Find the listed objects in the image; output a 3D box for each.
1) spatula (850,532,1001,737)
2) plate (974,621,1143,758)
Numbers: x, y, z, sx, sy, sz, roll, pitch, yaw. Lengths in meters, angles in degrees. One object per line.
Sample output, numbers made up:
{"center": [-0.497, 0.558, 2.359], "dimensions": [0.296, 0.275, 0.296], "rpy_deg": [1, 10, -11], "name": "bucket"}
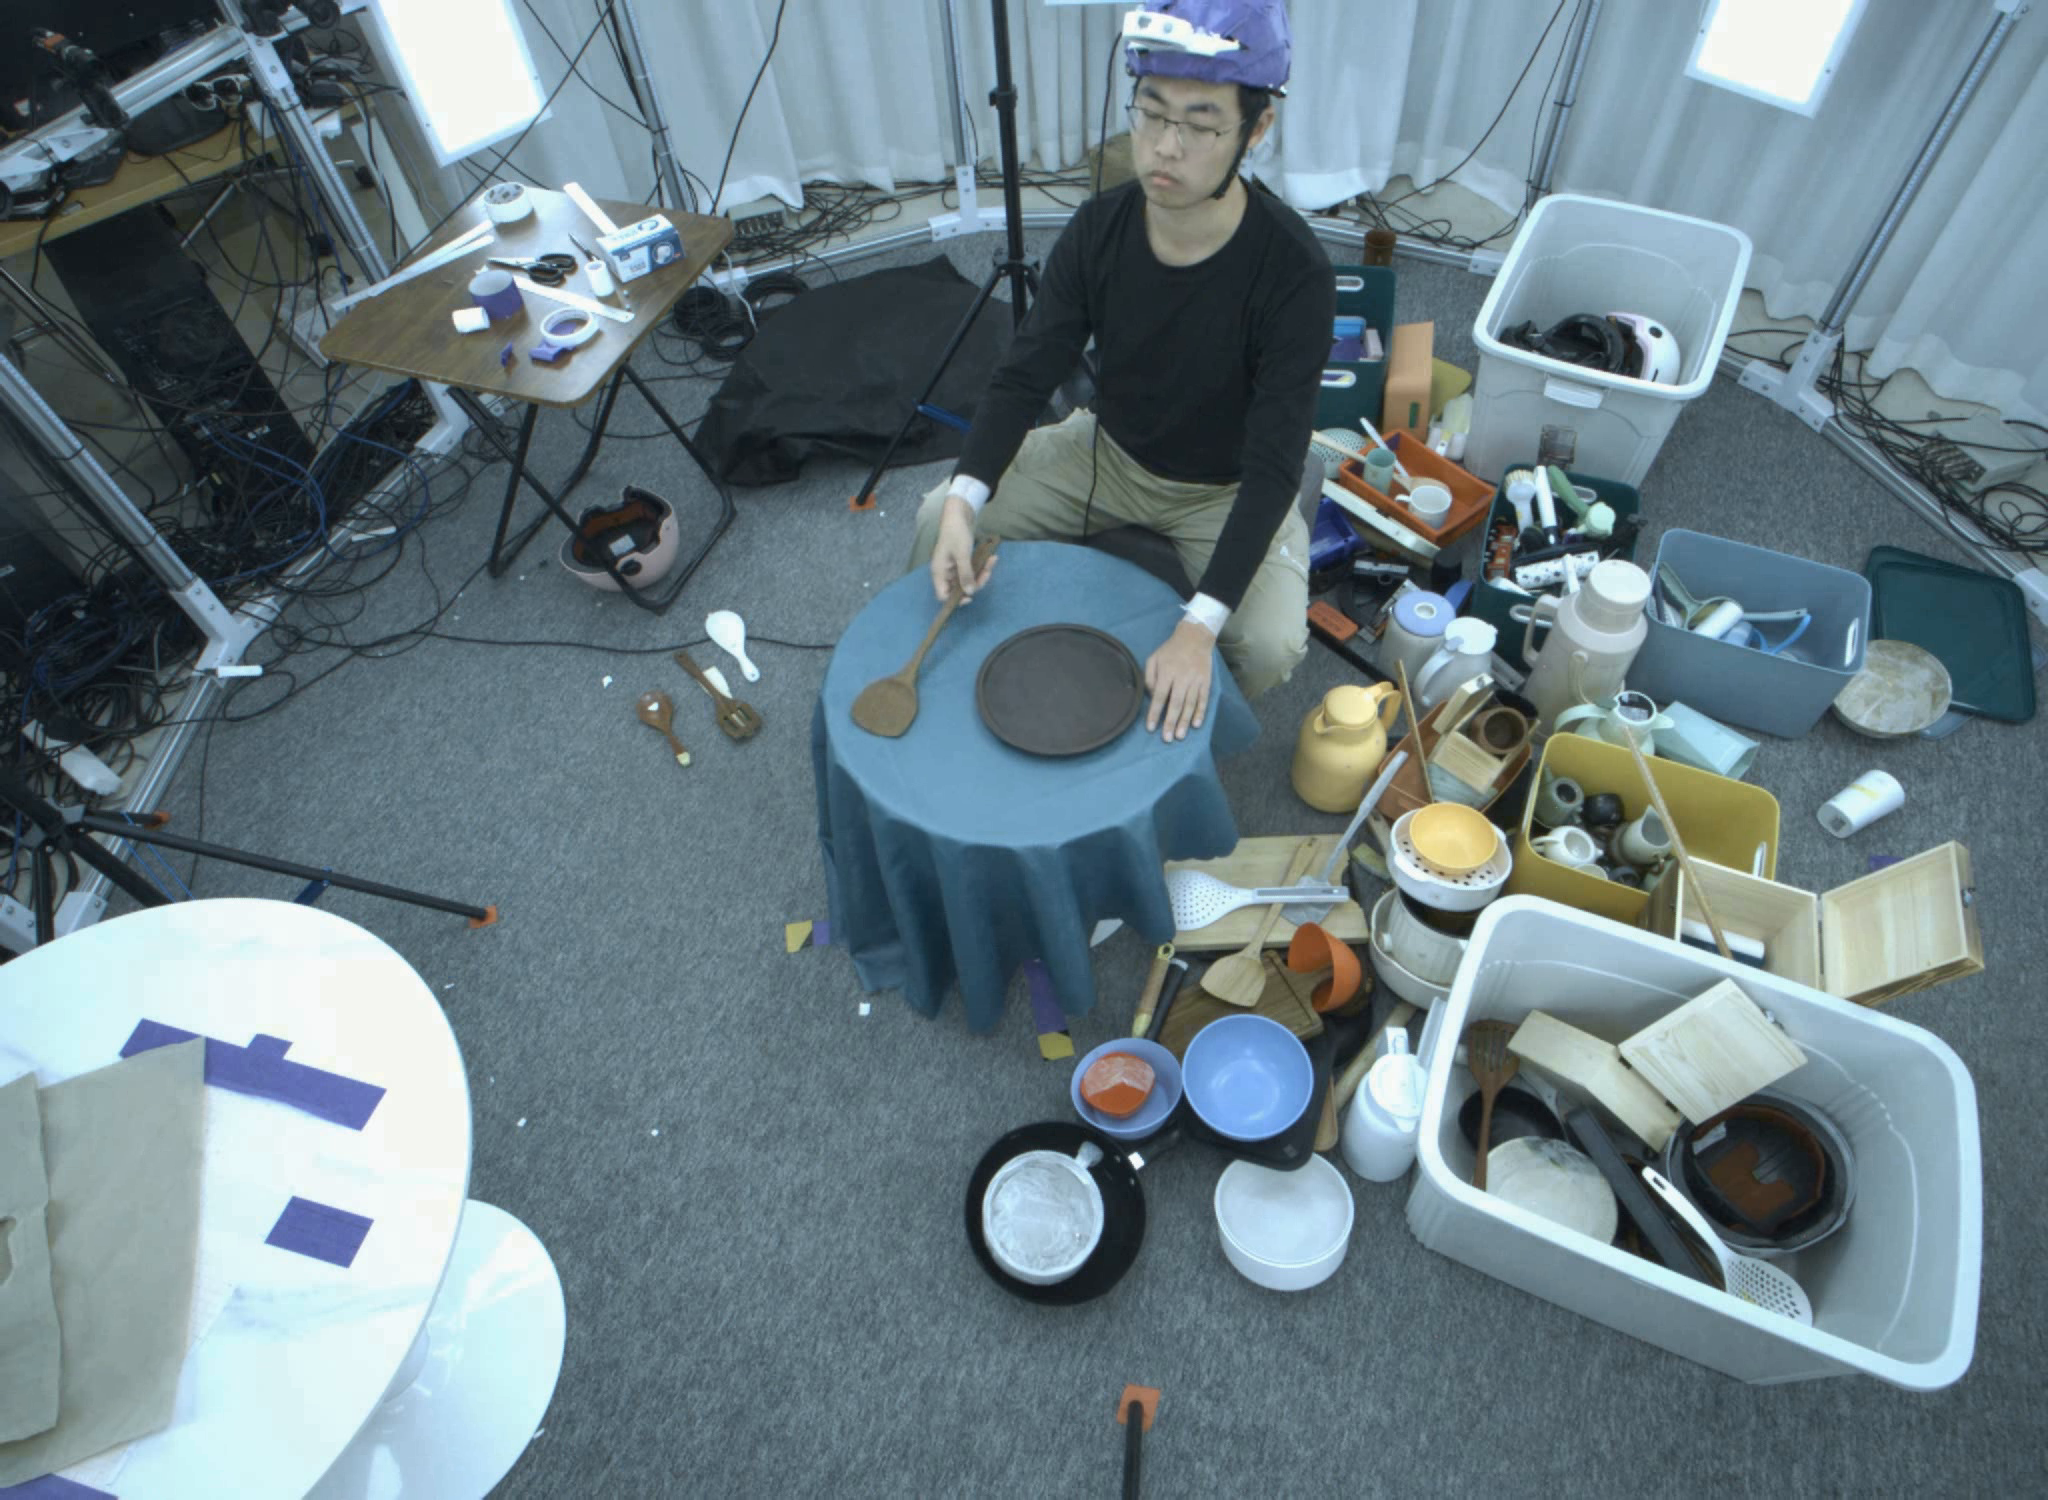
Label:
{"center": [-0.136, -0.187, 1.873], "dimensions": [0.095, 0.016, 0.386], "rpy_deg": [26, 72, 13], "name": "spatula"}
{"center": [0.052, -0.092, 1.837], "dimensions": [0.254, 0.029, 0.252], "rpy_deg": [-1, 55, 3], "name": "plate"}
